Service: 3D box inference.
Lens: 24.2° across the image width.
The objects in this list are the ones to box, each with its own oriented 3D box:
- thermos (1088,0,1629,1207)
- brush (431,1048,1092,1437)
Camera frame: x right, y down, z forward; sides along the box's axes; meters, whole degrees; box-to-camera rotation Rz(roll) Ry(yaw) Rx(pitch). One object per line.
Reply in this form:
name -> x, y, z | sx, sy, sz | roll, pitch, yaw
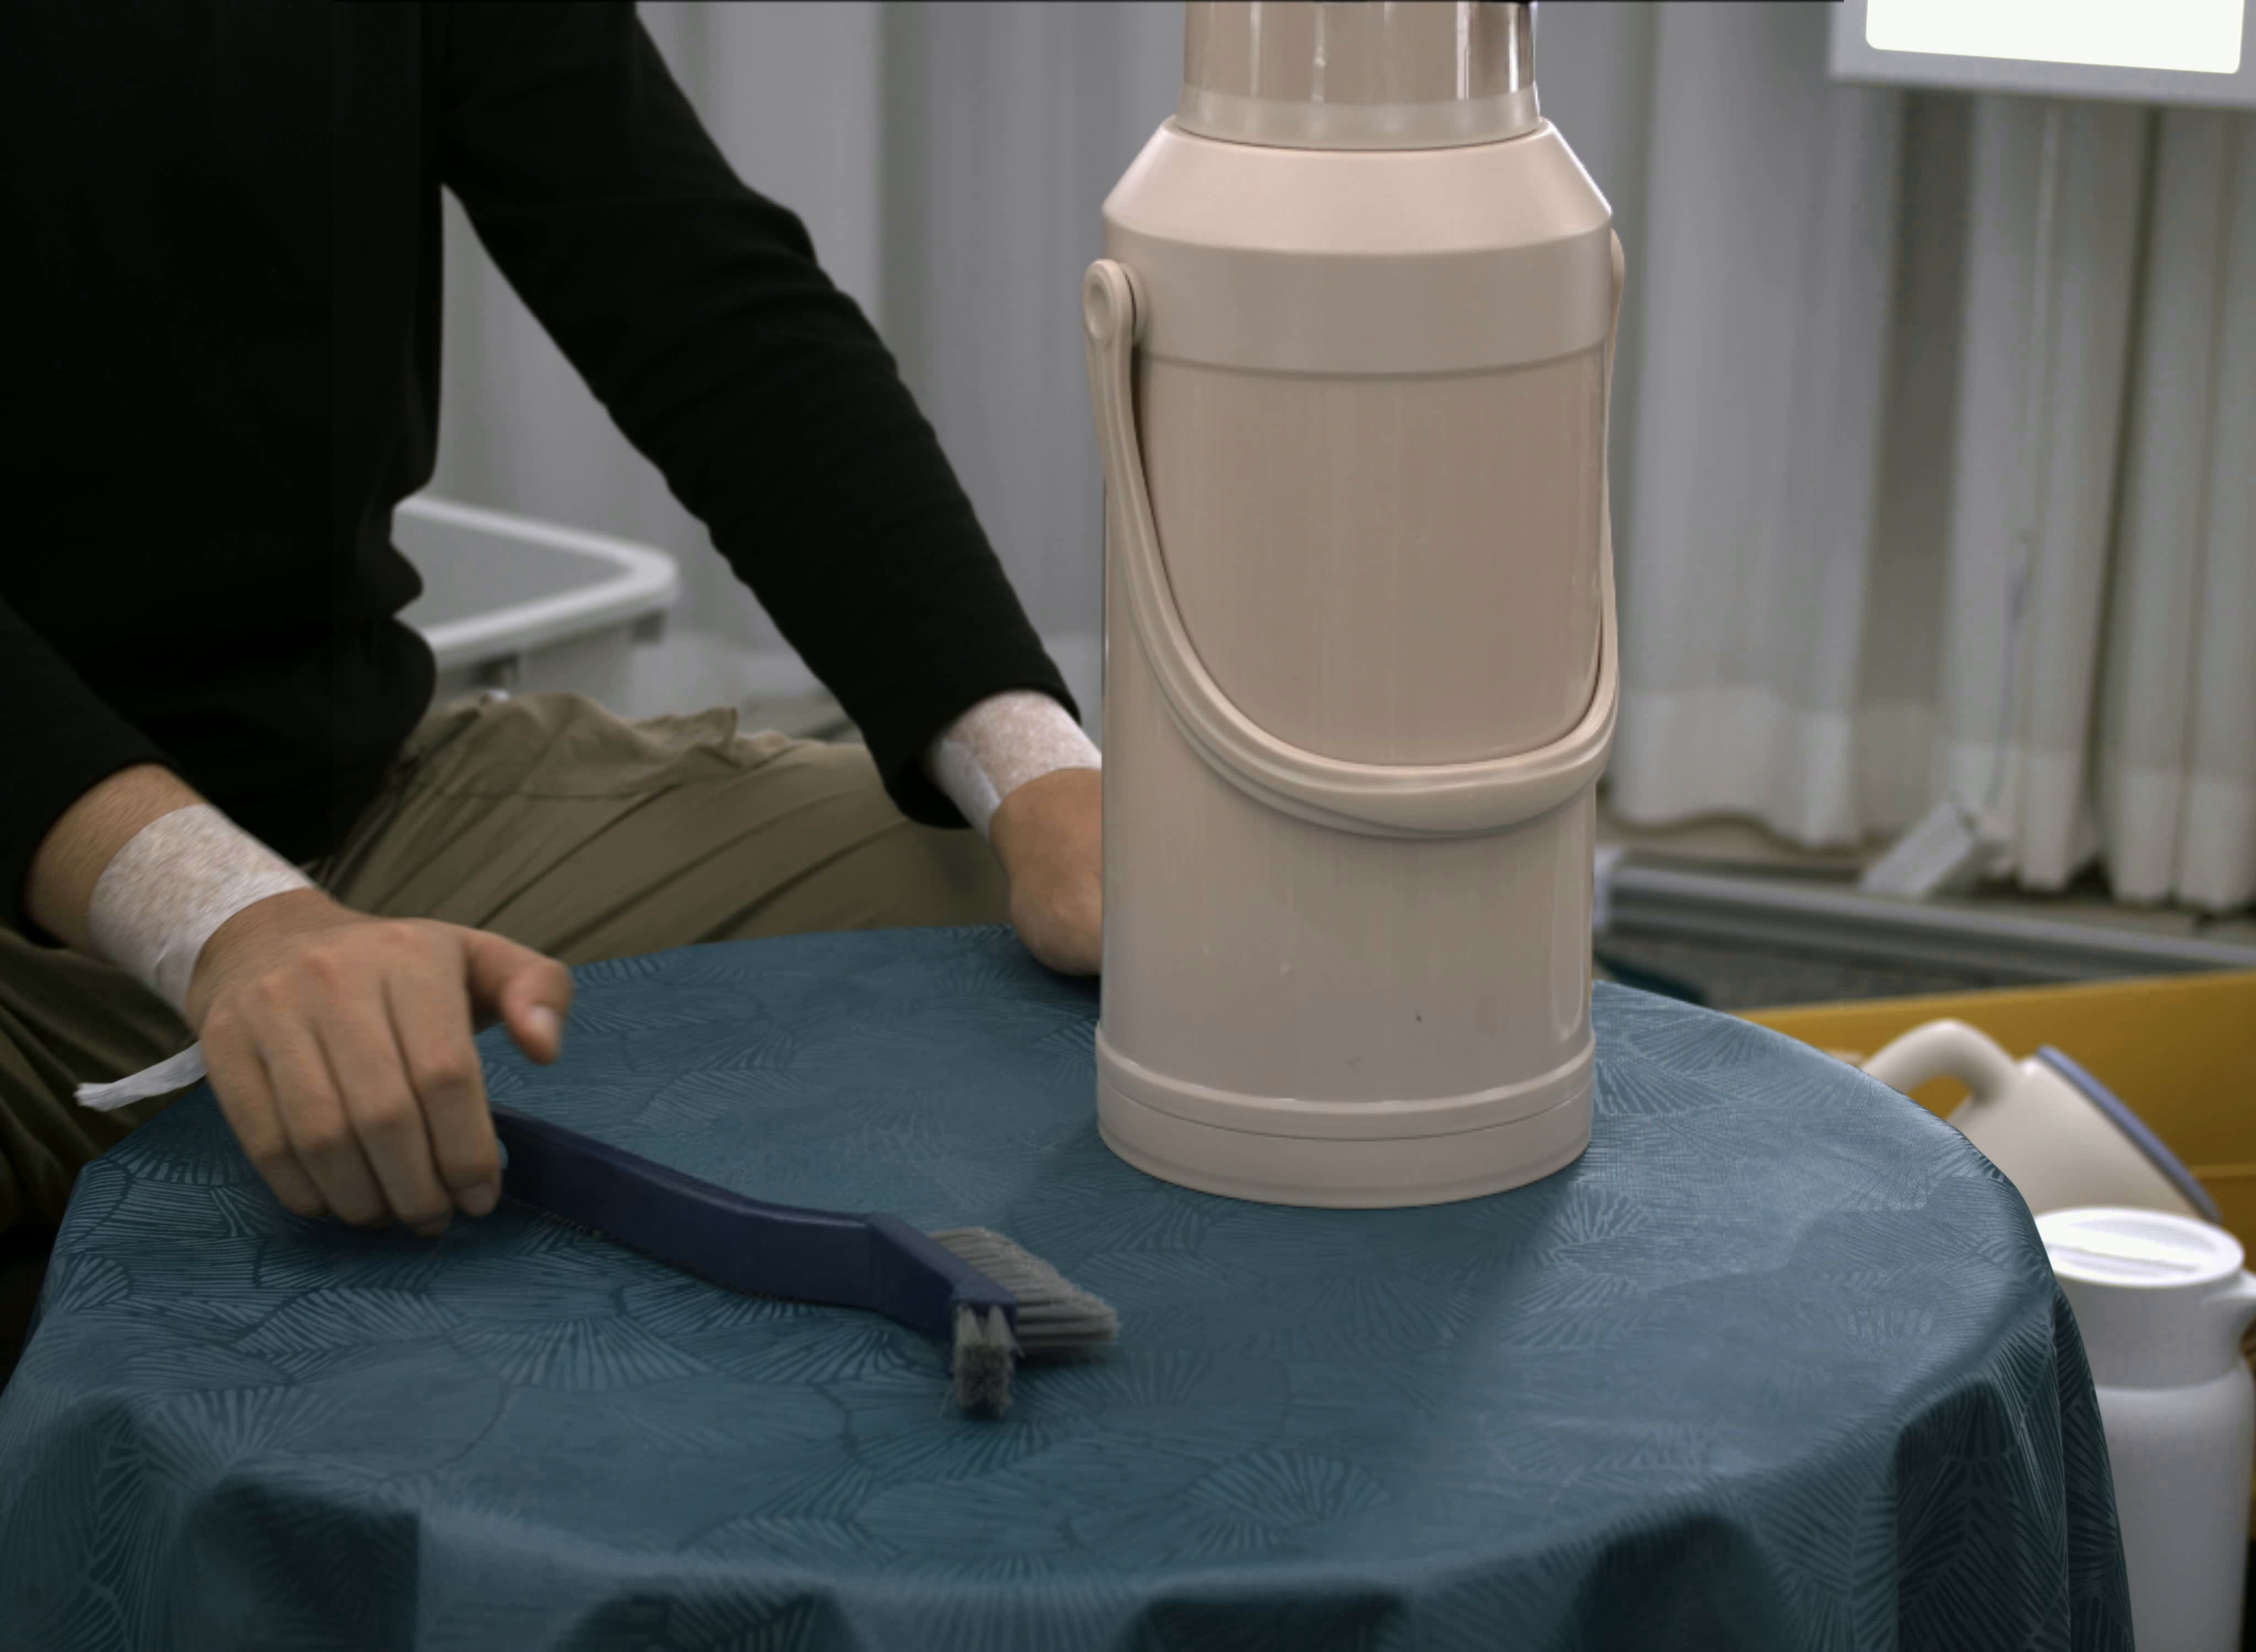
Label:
thermos -> 0.066, -0.099, 1.639 | 0.176, 0.410, 0.204 | -9, 19, -25
brush -> -0.126, 0.117, 1.535 | 0.269, 0.034, 0.096 | 14, 20, 34
